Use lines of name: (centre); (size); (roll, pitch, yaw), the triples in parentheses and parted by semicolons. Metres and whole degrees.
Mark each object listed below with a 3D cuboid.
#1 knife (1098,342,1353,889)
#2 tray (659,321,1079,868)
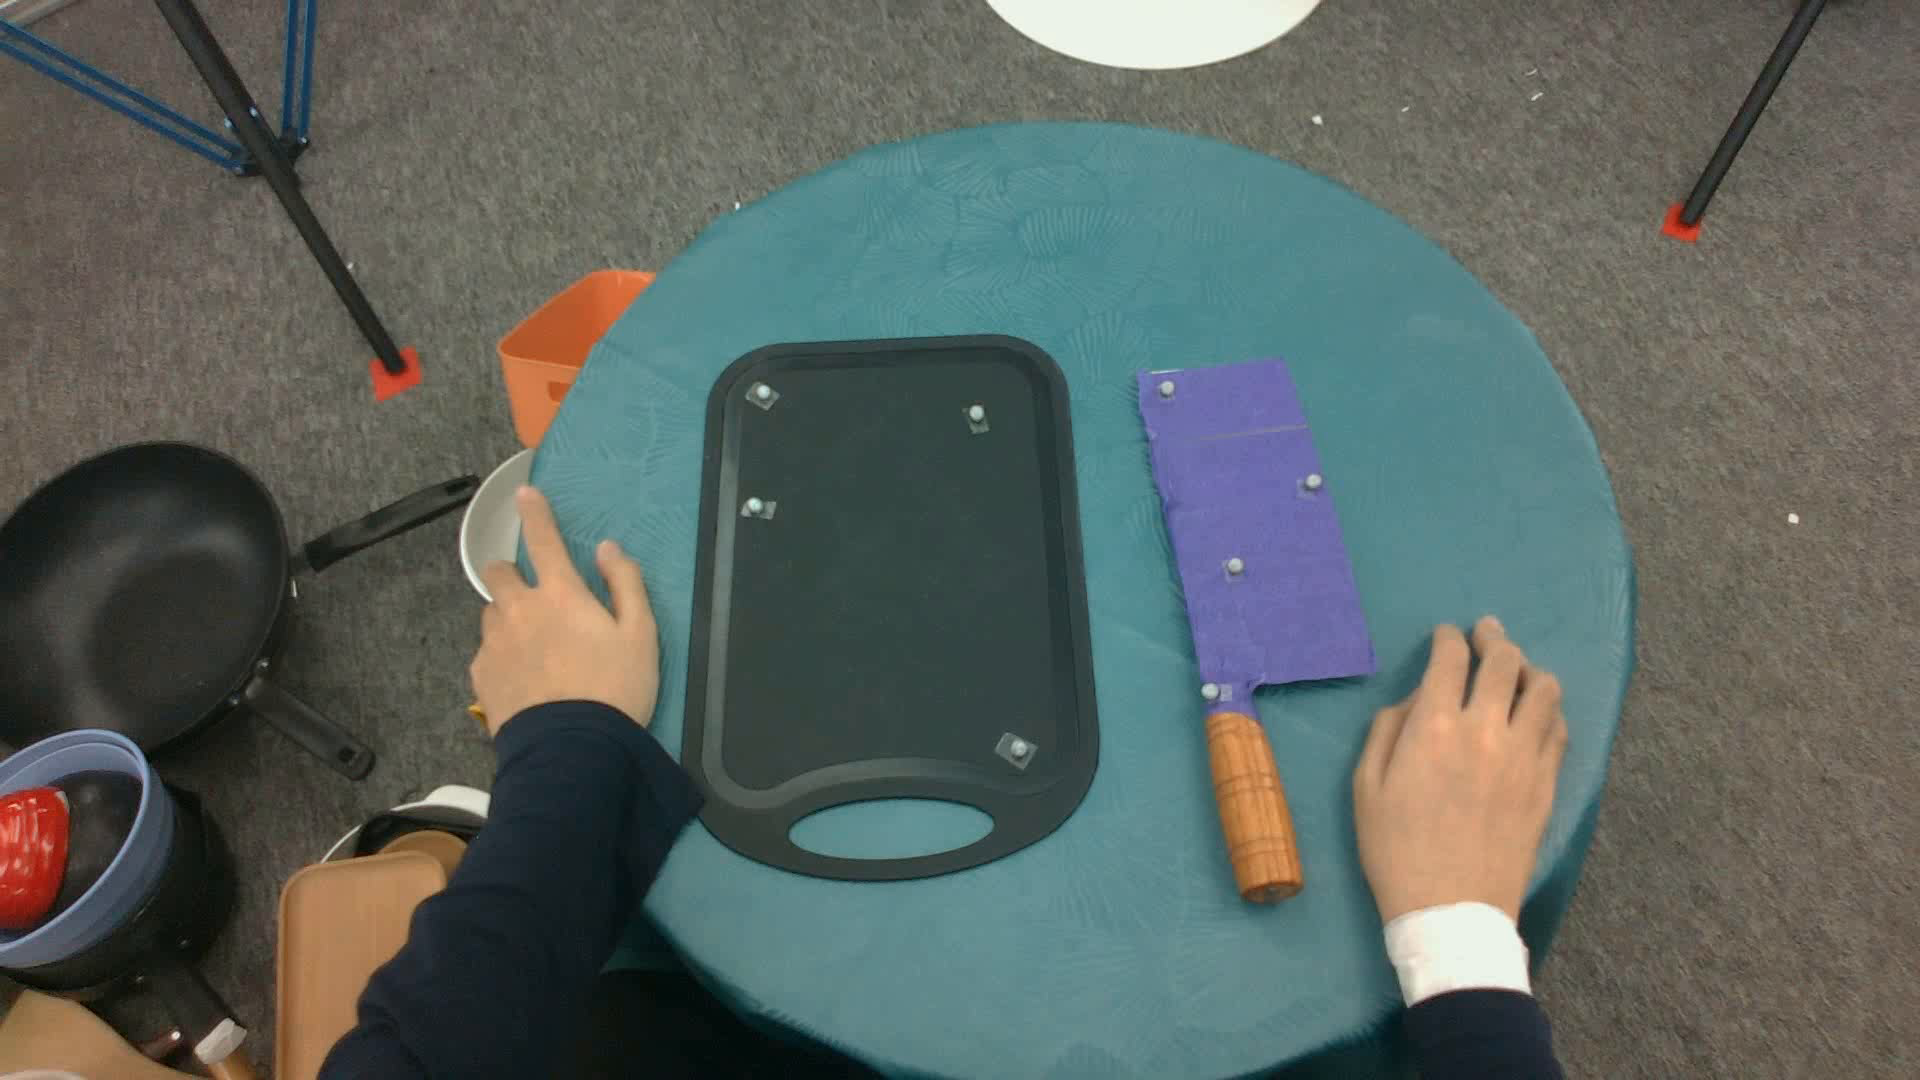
knife: (0.149, 0.020, 0.716); (0.104, 0.032, 0.316); (-6, 60, -3)
tray: (-0.048, 0.013, 0.733); (0.211, 0.010, 0.326); (-2, 60, 0)
